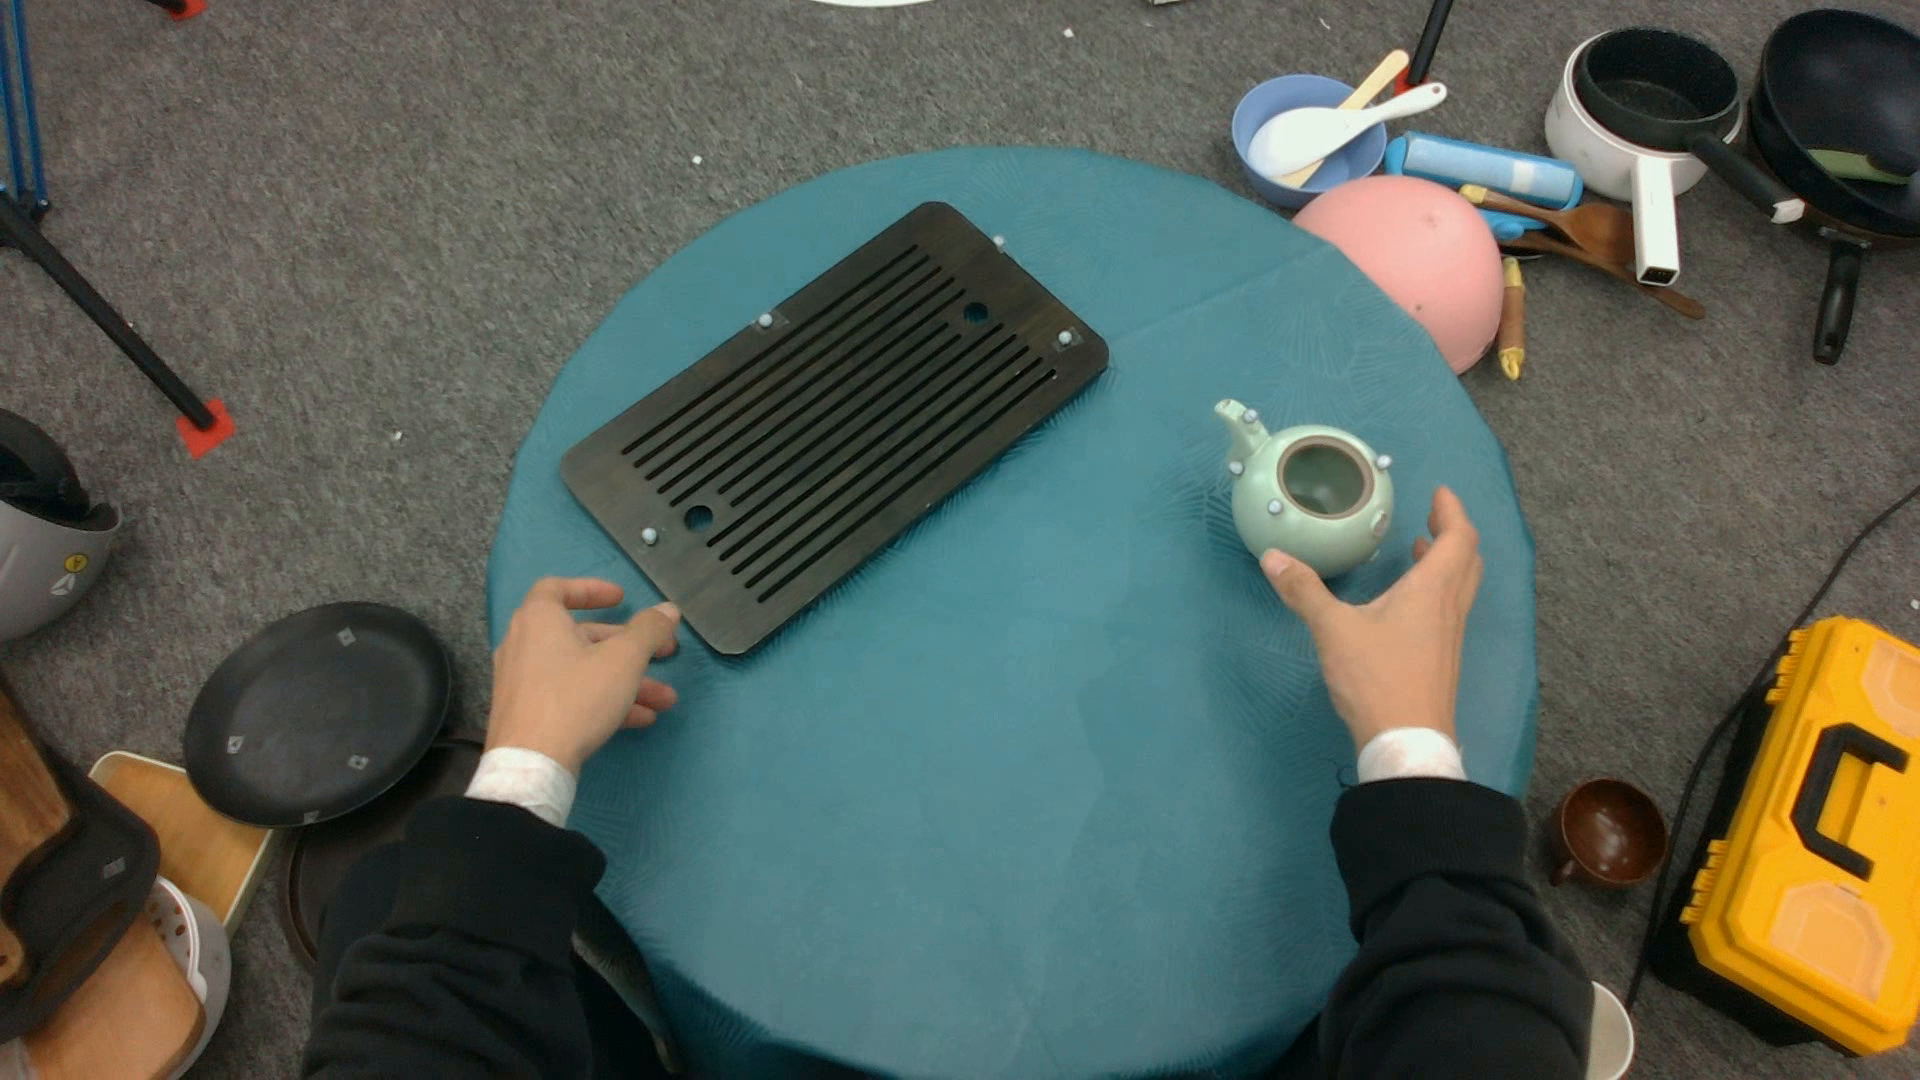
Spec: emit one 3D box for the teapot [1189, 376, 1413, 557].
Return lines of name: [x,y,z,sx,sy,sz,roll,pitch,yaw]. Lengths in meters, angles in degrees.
teapot: [0.185,-0.035,0.776,0.144,0.074,0.088,37,68,17]

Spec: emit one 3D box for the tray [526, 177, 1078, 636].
tray: [-0.089,-0.089,0.825,0.307,0.018,0.170,-40,71,-19]
